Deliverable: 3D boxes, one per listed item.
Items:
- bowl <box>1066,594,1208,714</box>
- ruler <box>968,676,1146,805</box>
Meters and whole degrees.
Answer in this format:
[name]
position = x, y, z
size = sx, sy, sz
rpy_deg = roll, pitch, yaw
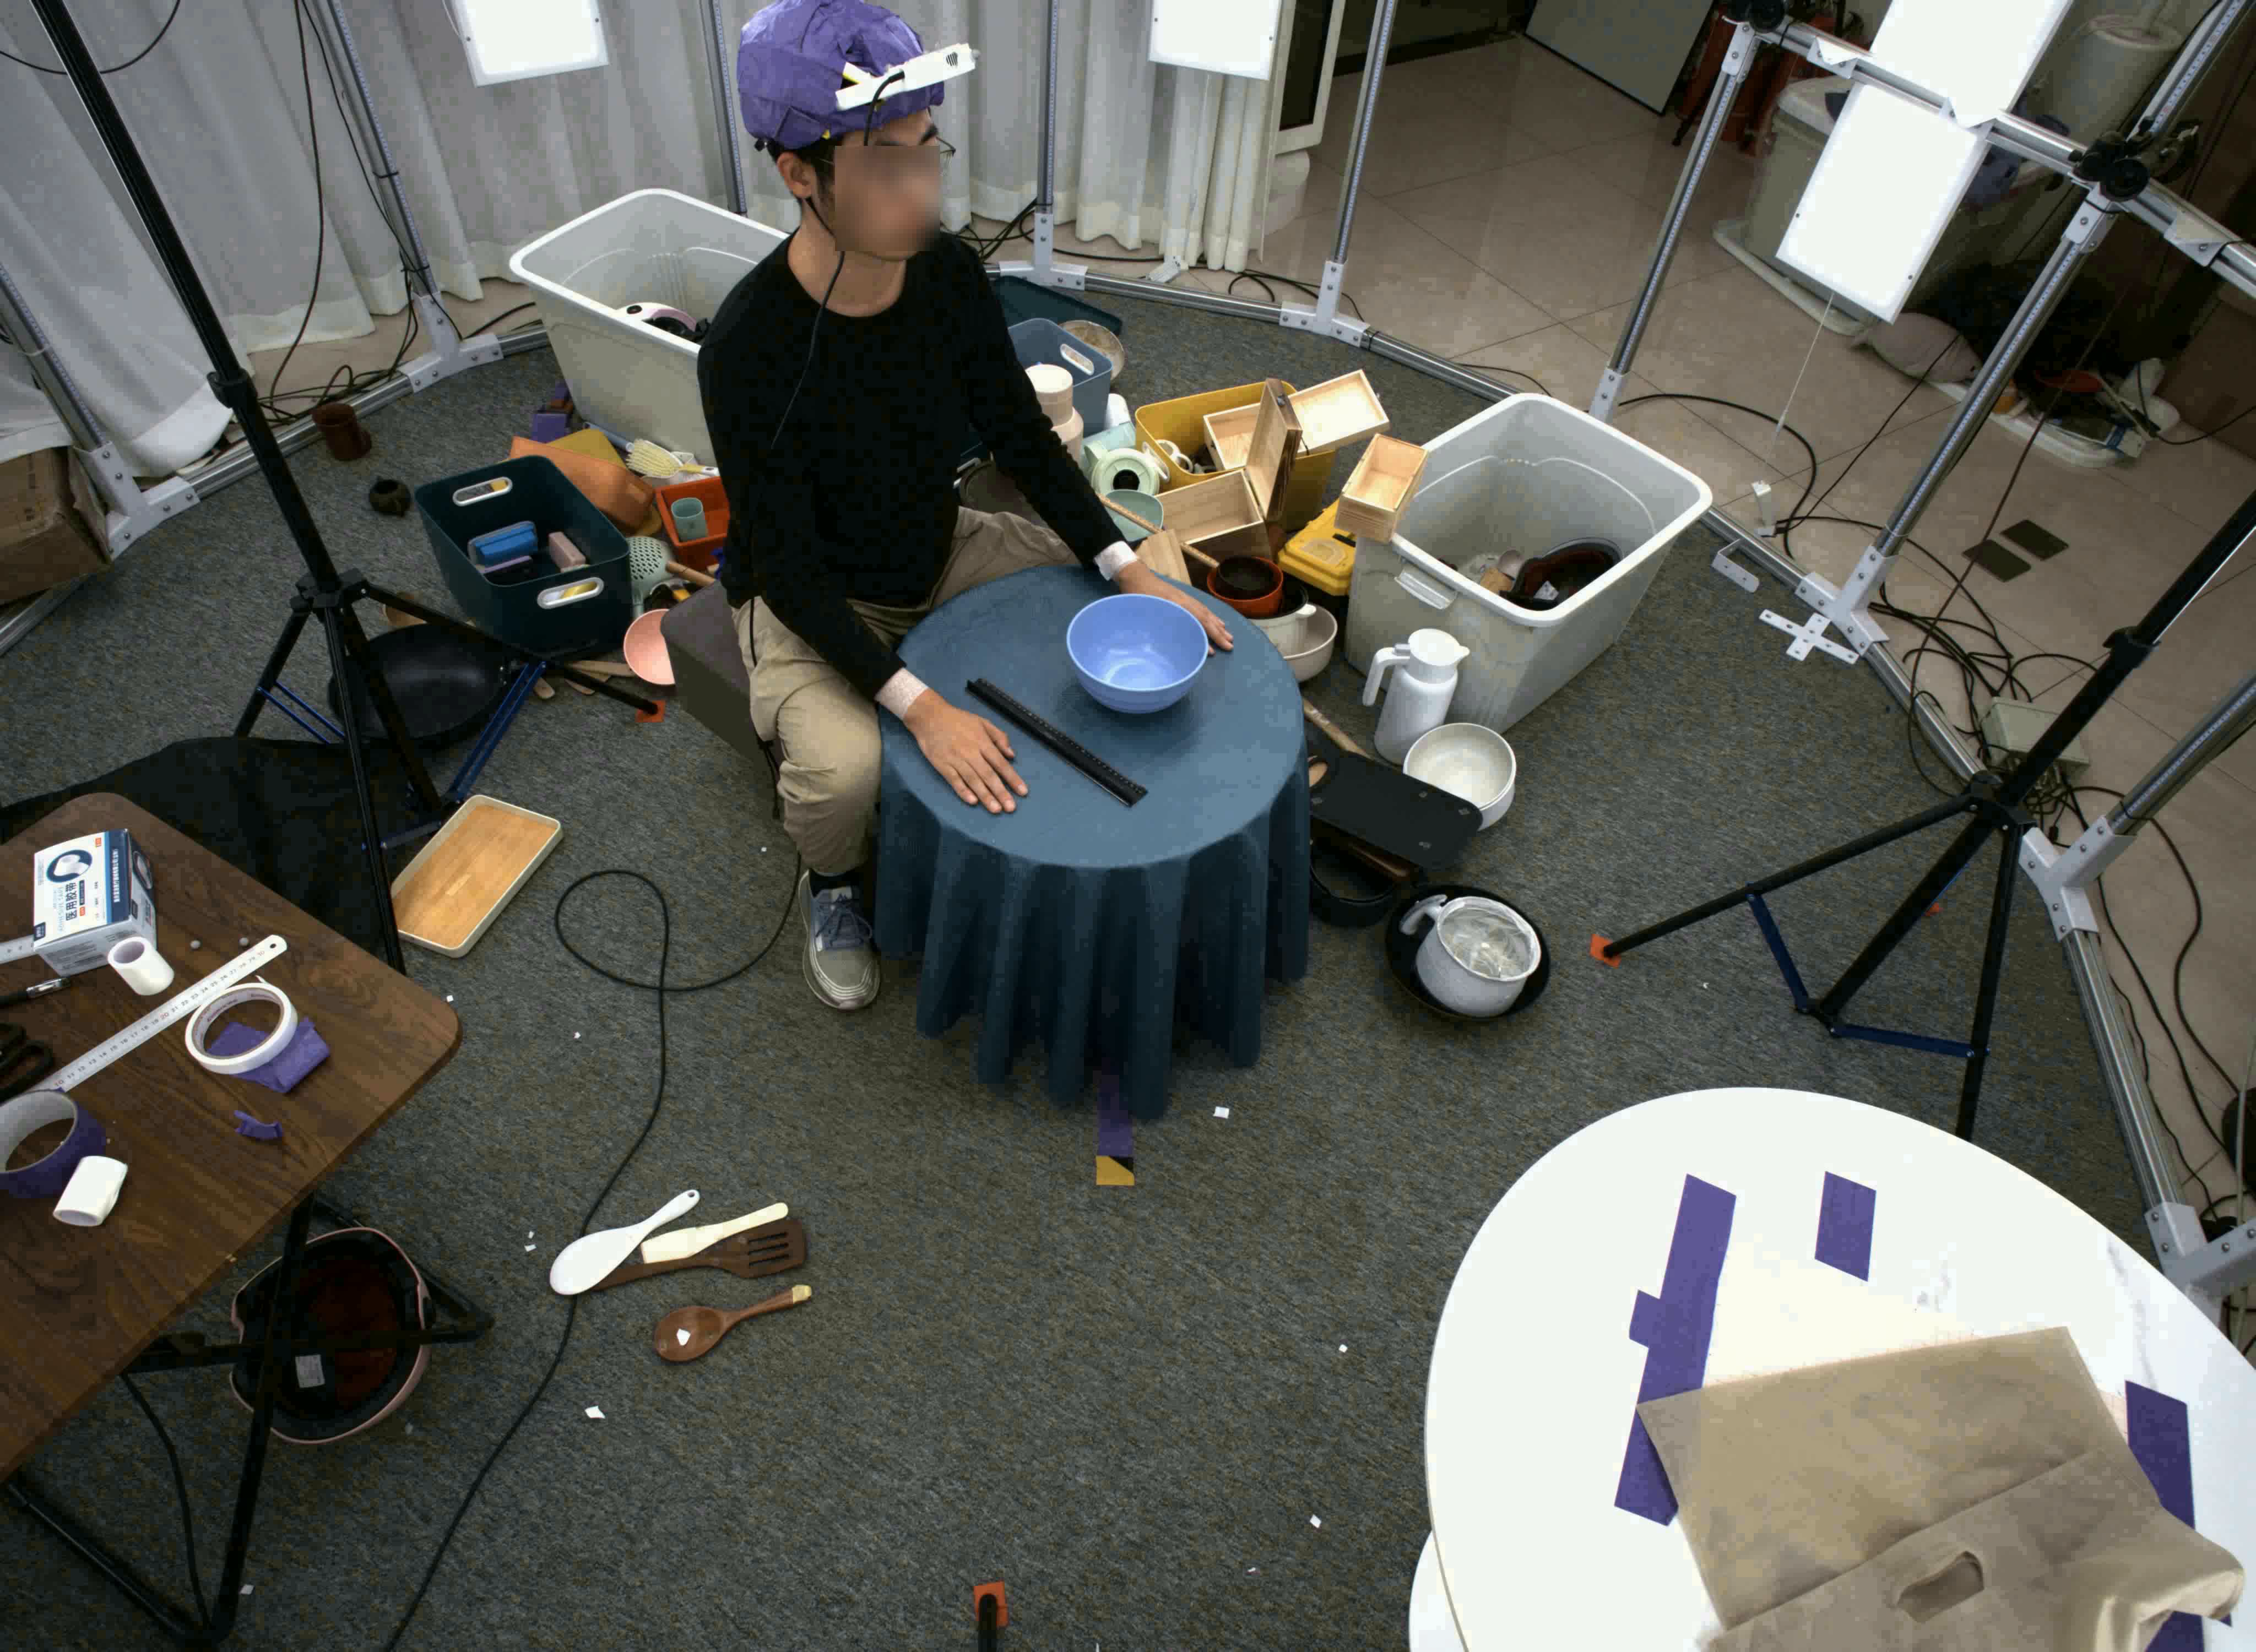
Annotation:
[bowl]
position = 0.010, -0.227, 1.806
size = 0.196, 0.093, 0.201
rpy_deg = 2, 49, -3
[ruler]
position = -0.100, -0.125, 1.761
size = 0.317, 0.017, 0.039
rpy_deg = 36, 52, 25
